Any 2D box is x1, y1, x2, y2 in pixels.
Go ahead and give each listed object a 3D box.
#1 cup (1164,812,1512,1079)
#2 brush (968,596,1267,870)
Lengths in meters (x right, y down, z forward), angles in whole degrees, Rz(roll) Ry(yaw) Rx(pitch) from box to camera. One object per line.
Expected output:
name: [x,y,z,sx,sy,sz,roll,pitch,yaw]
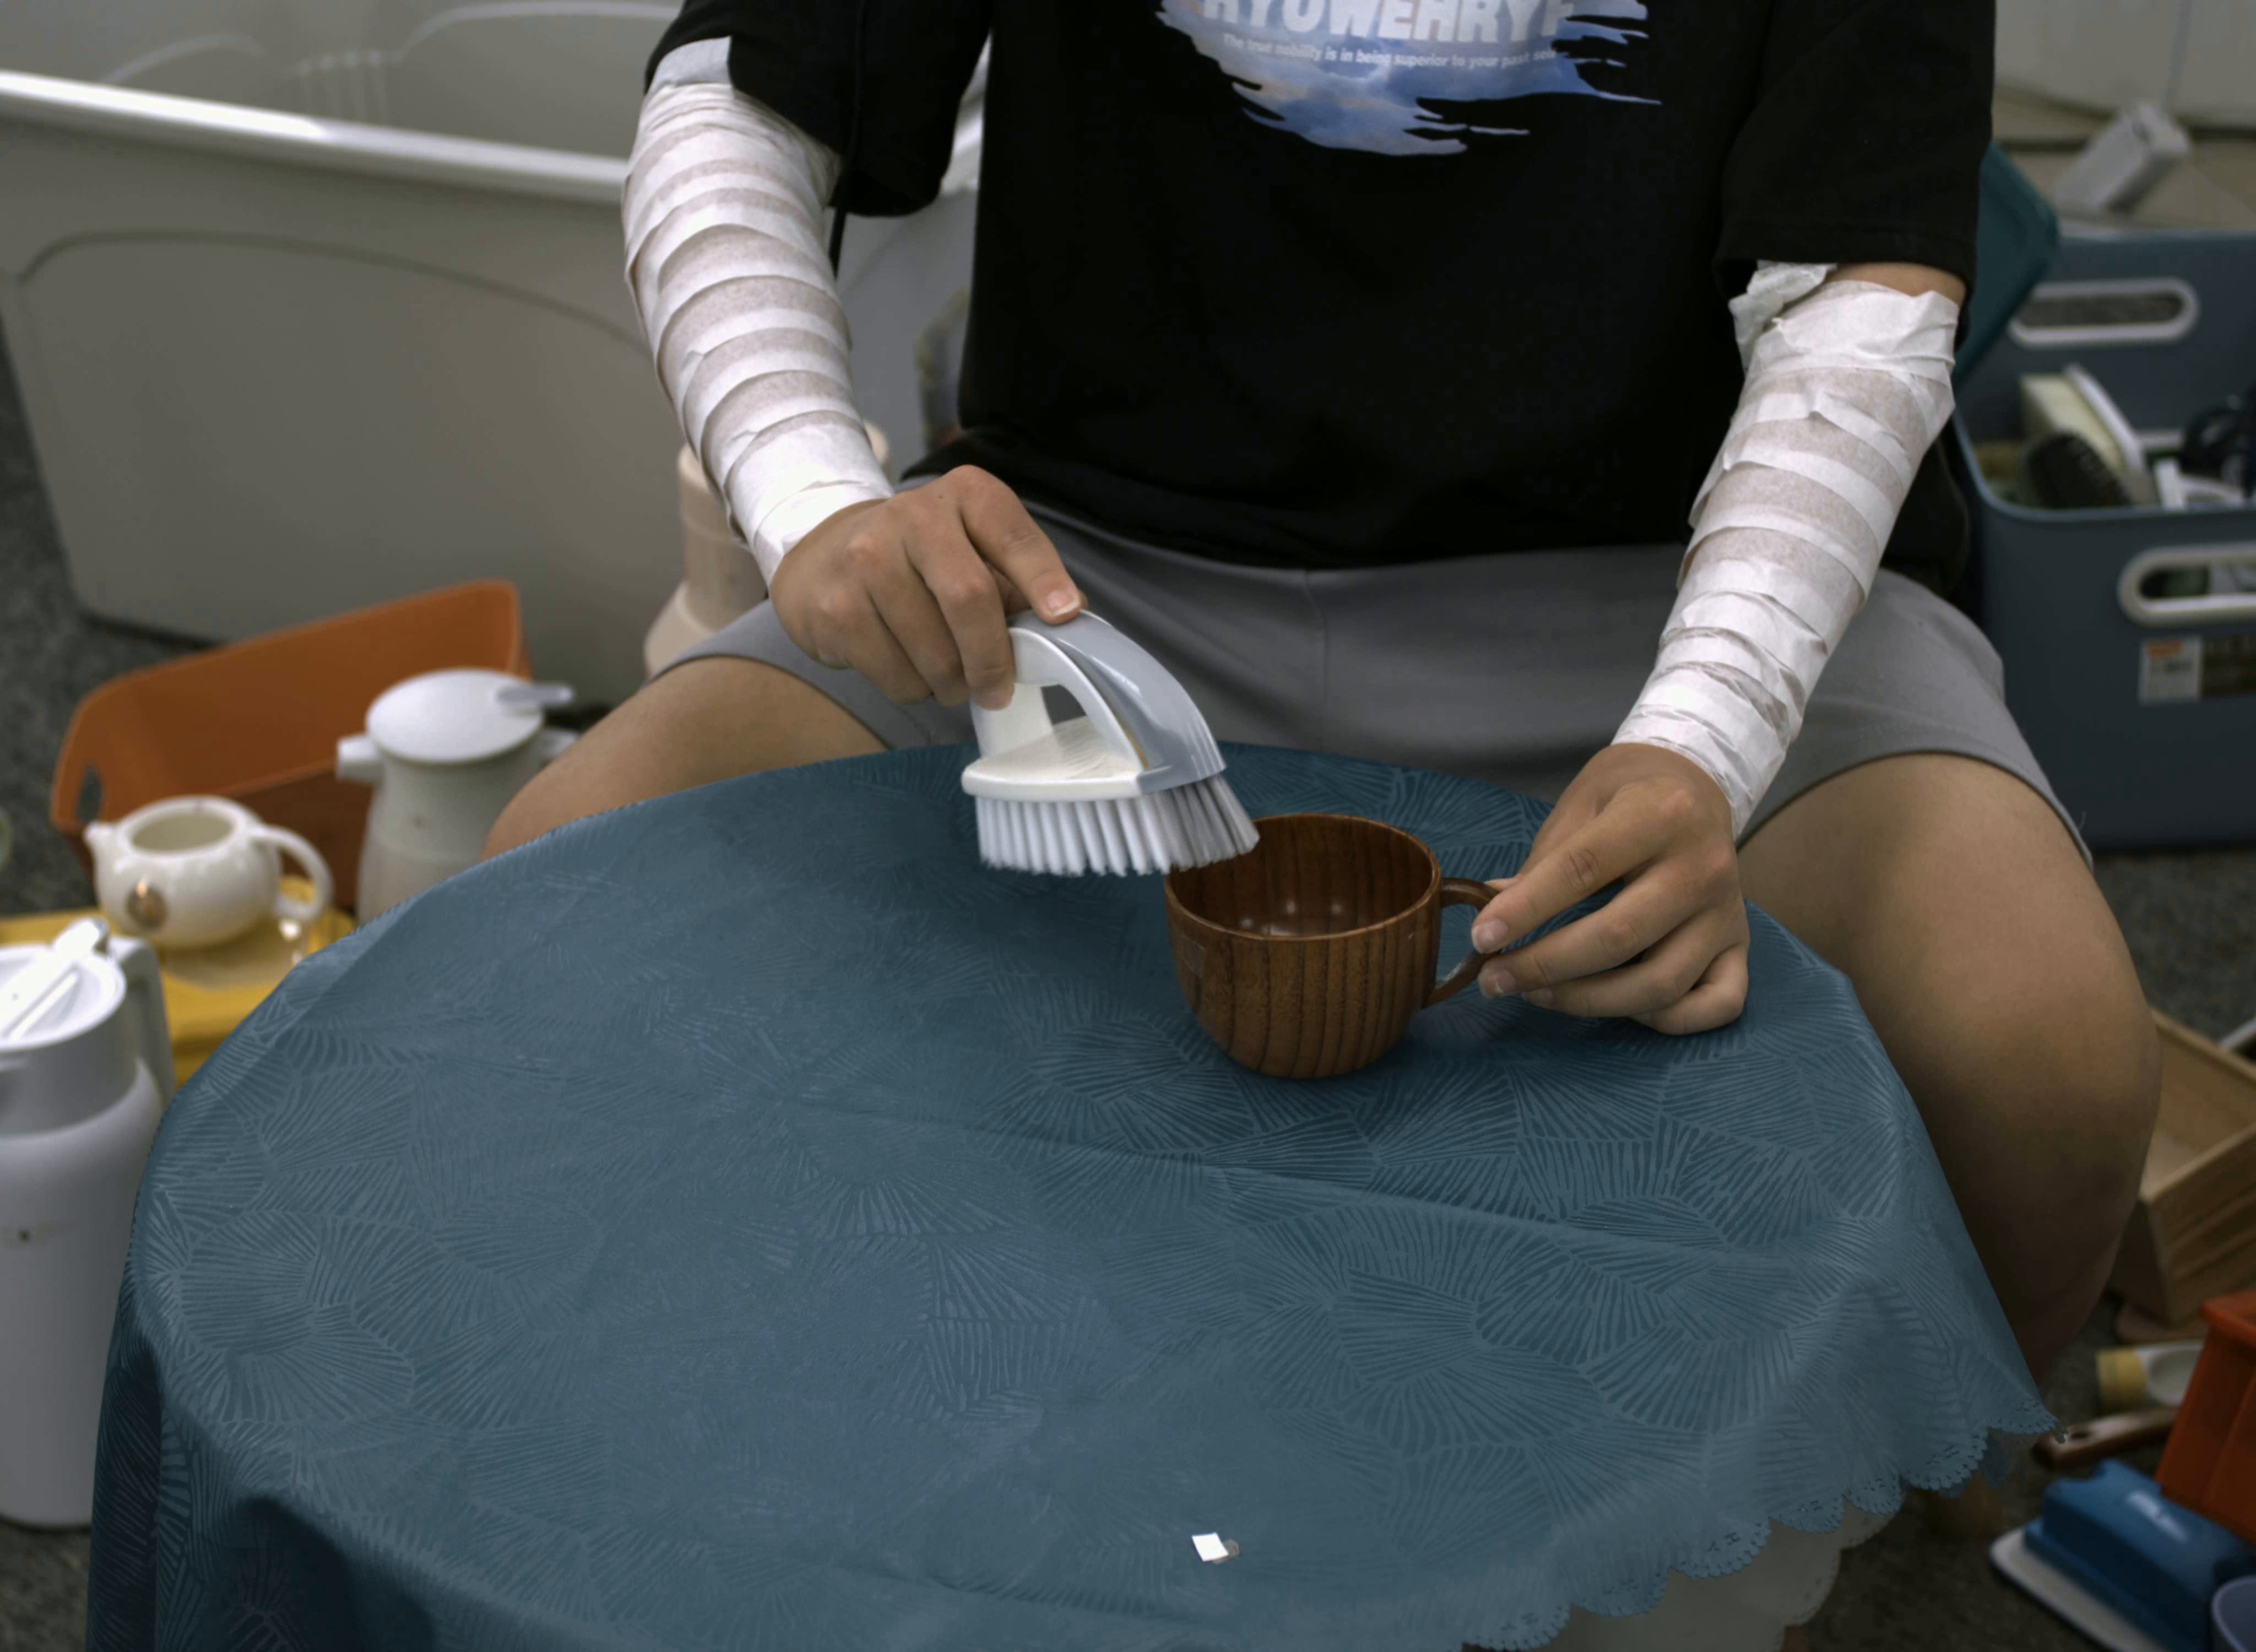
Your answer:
cup: [0.073,0.044,1.933,0.119,0.067,0.097,-1,24,1]
brush: [-0.007,-0.036,1.967,0.062,0.094,0.175,-29,16,-20]
